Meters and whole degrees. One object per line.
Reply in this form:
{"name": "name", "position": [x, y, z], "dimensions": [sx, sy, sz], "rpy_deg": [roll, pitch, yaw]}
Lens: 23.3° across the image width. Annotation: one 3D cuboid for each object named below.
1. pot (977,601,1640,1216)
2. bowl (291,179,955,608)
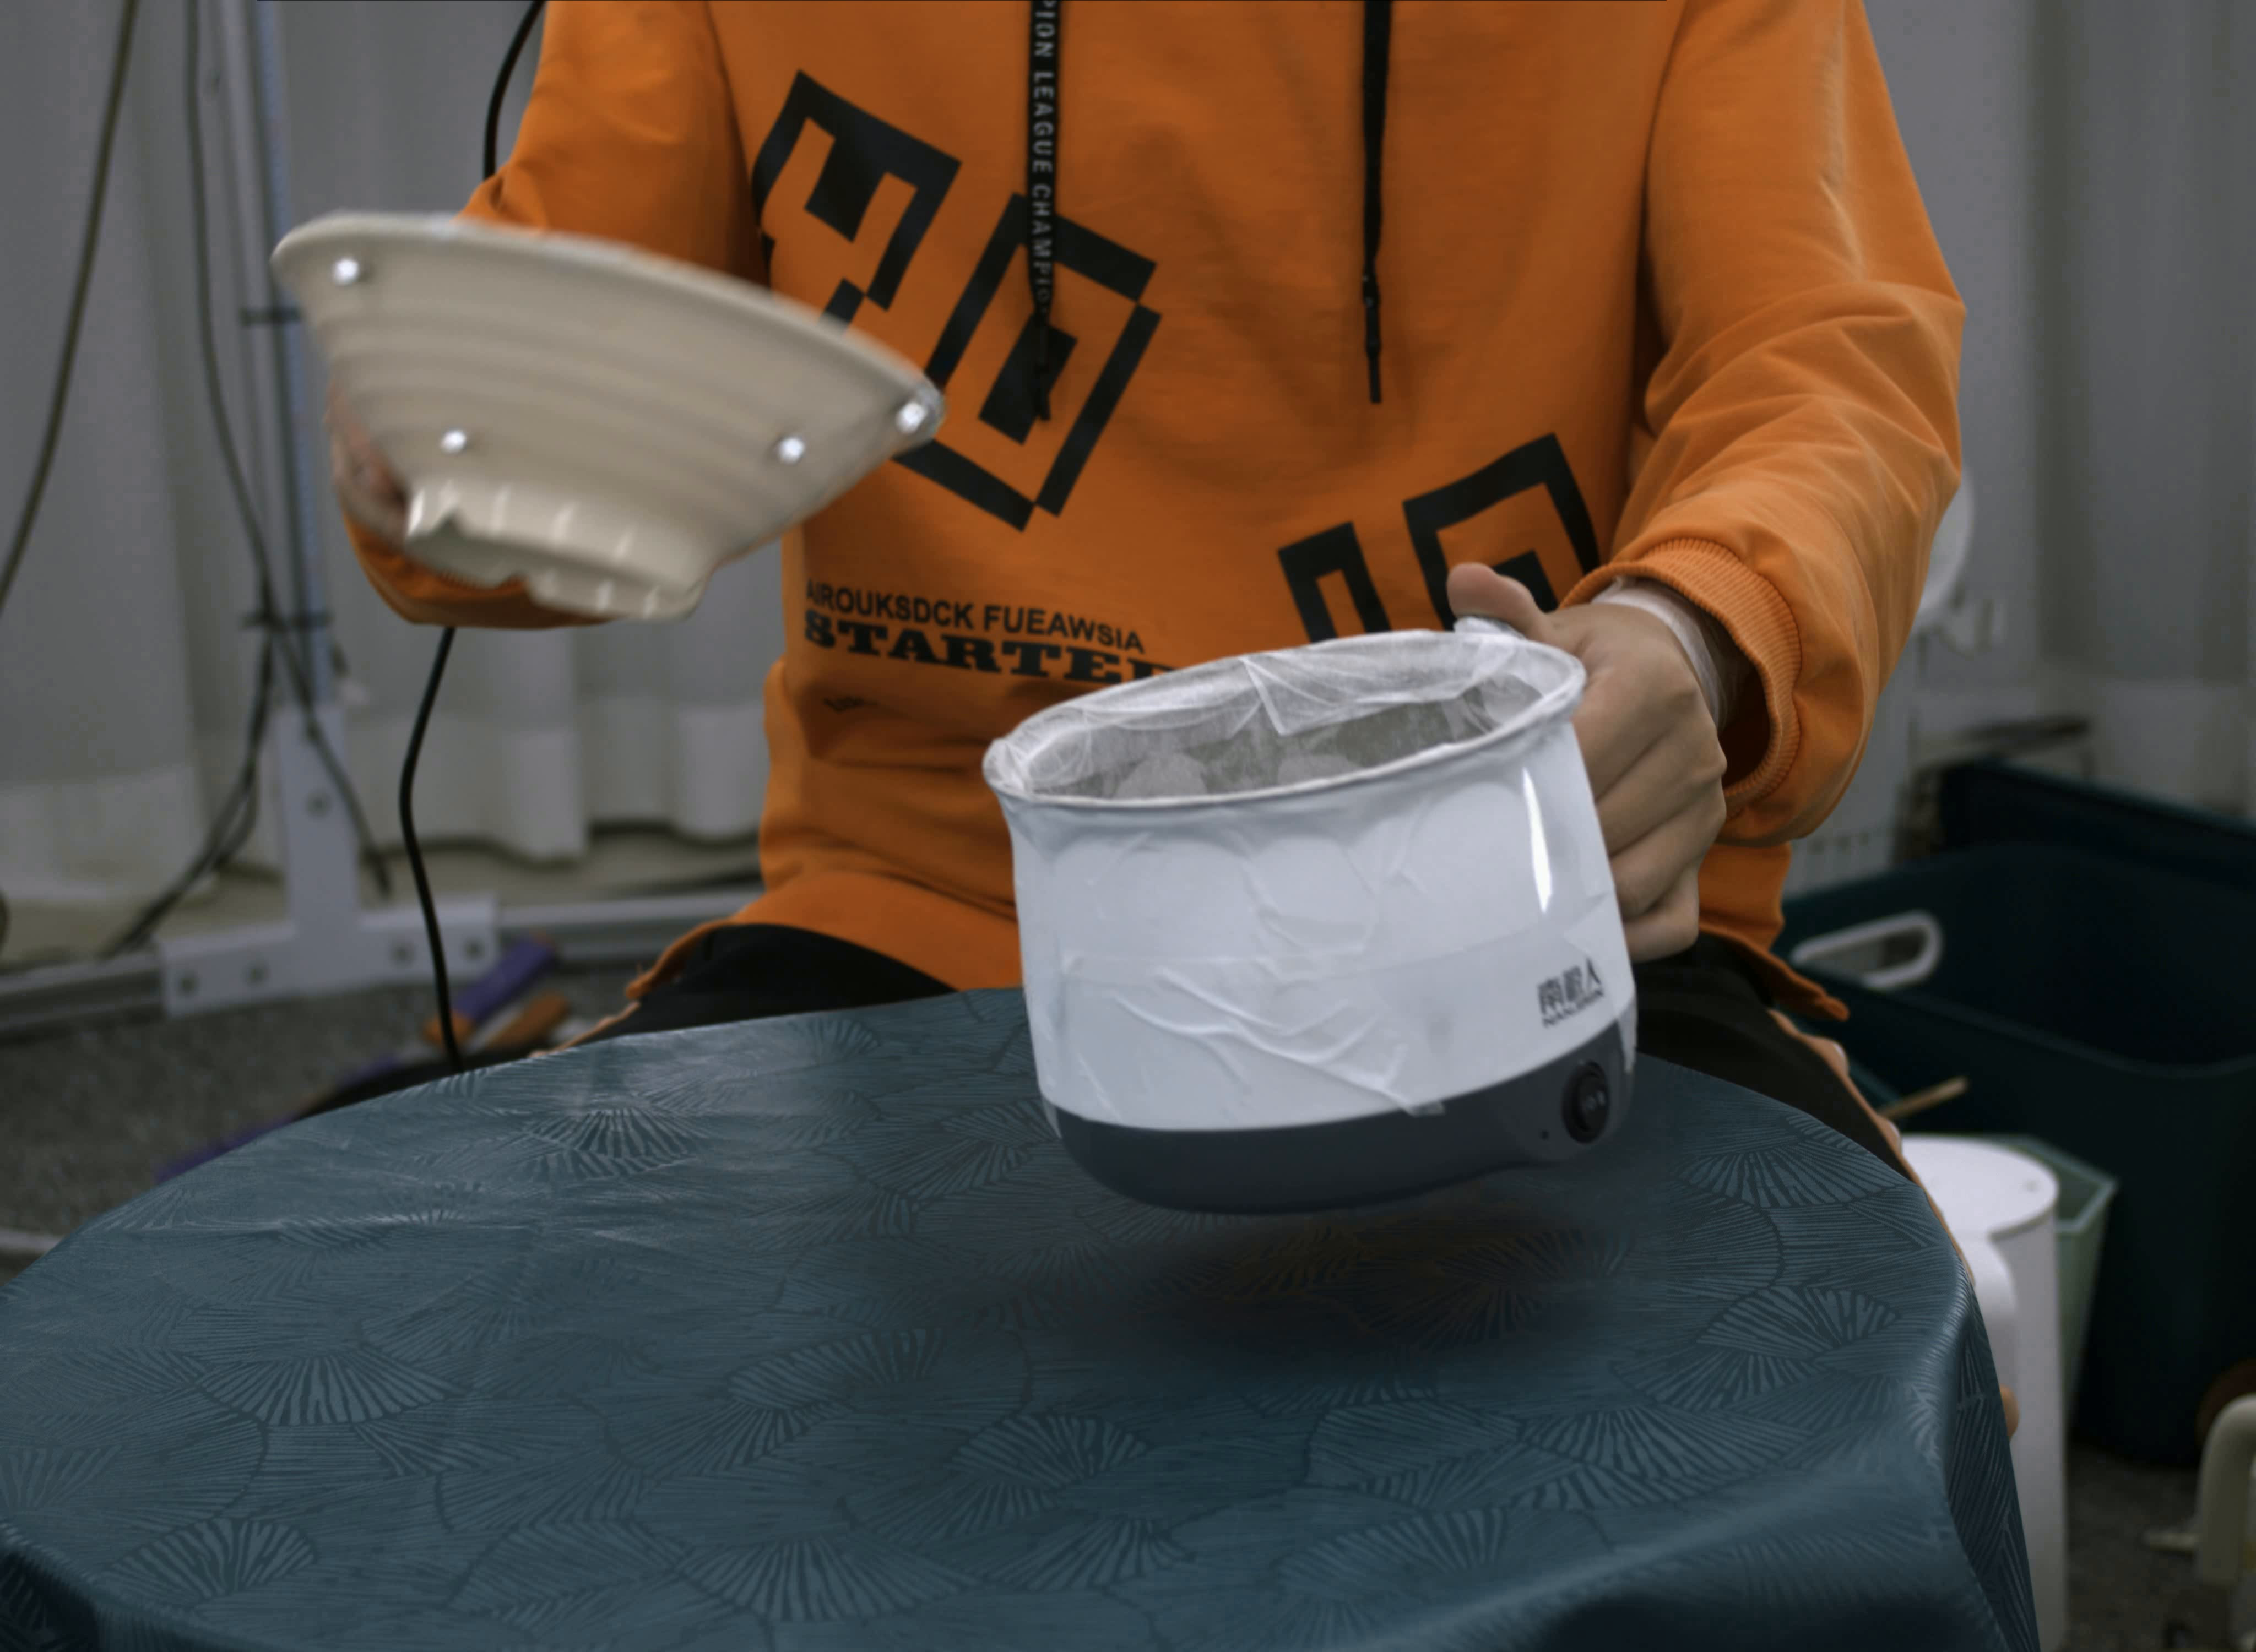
{"name": "pot", "position": [0.070, 0.019, 1.615], "dimensions": [0.179, 0.136, 0.234], "rpy_deg": [2, 18, 38]}
{"name": "bowl", "position": [-0.157, -0.115, 1.621], "dimensions": [0.203, 0.078, 0.202], "rpy_deg": [12, -14, 3]}
